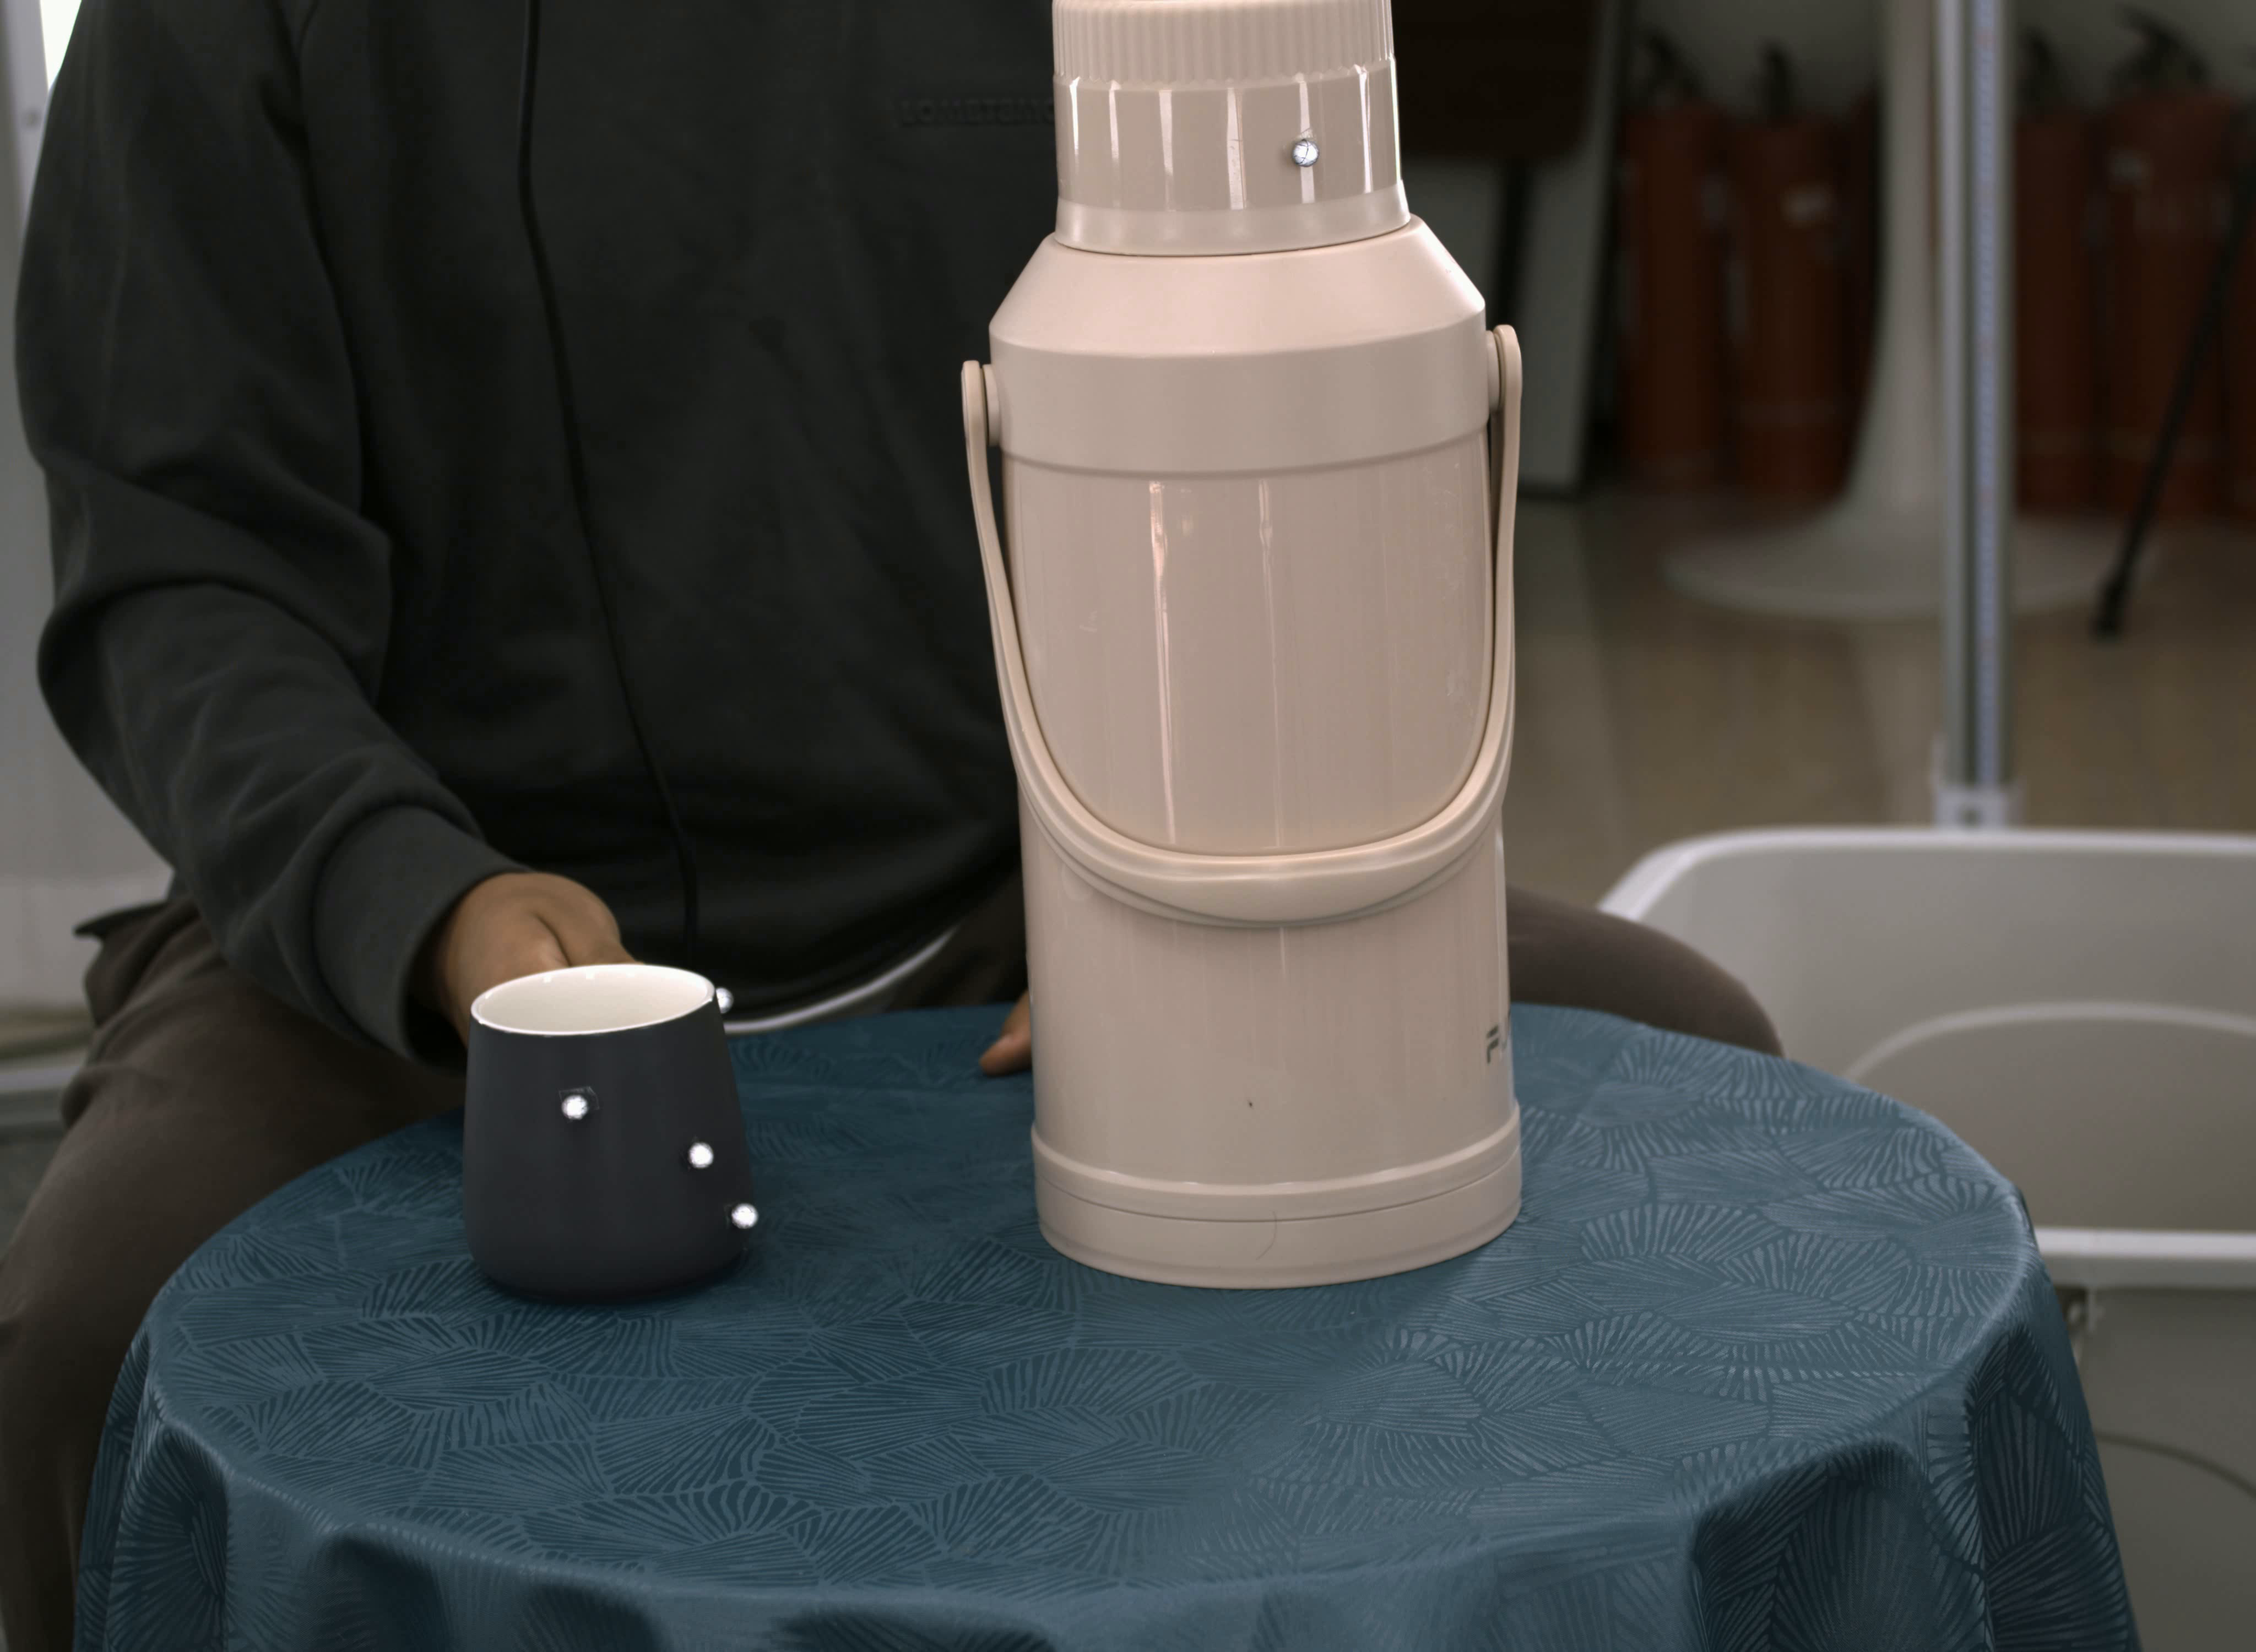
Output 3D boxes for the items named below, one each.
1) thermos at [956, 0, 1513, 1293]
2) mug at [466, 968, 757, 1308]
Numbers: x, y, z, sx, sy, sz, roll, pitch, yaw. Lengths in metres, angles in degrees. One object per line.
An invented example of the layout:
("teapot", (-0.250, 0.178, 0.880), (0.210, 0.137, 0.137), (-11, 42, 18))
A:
("thermos", (0.036, -0.072, 1.713), (0.173, 0.411, 0.208), (-5, 14, -4))
("mug", (-0.165, 0.095, 1.735), (0.092, 0.091, 0.123), (-2, 14, 5))
